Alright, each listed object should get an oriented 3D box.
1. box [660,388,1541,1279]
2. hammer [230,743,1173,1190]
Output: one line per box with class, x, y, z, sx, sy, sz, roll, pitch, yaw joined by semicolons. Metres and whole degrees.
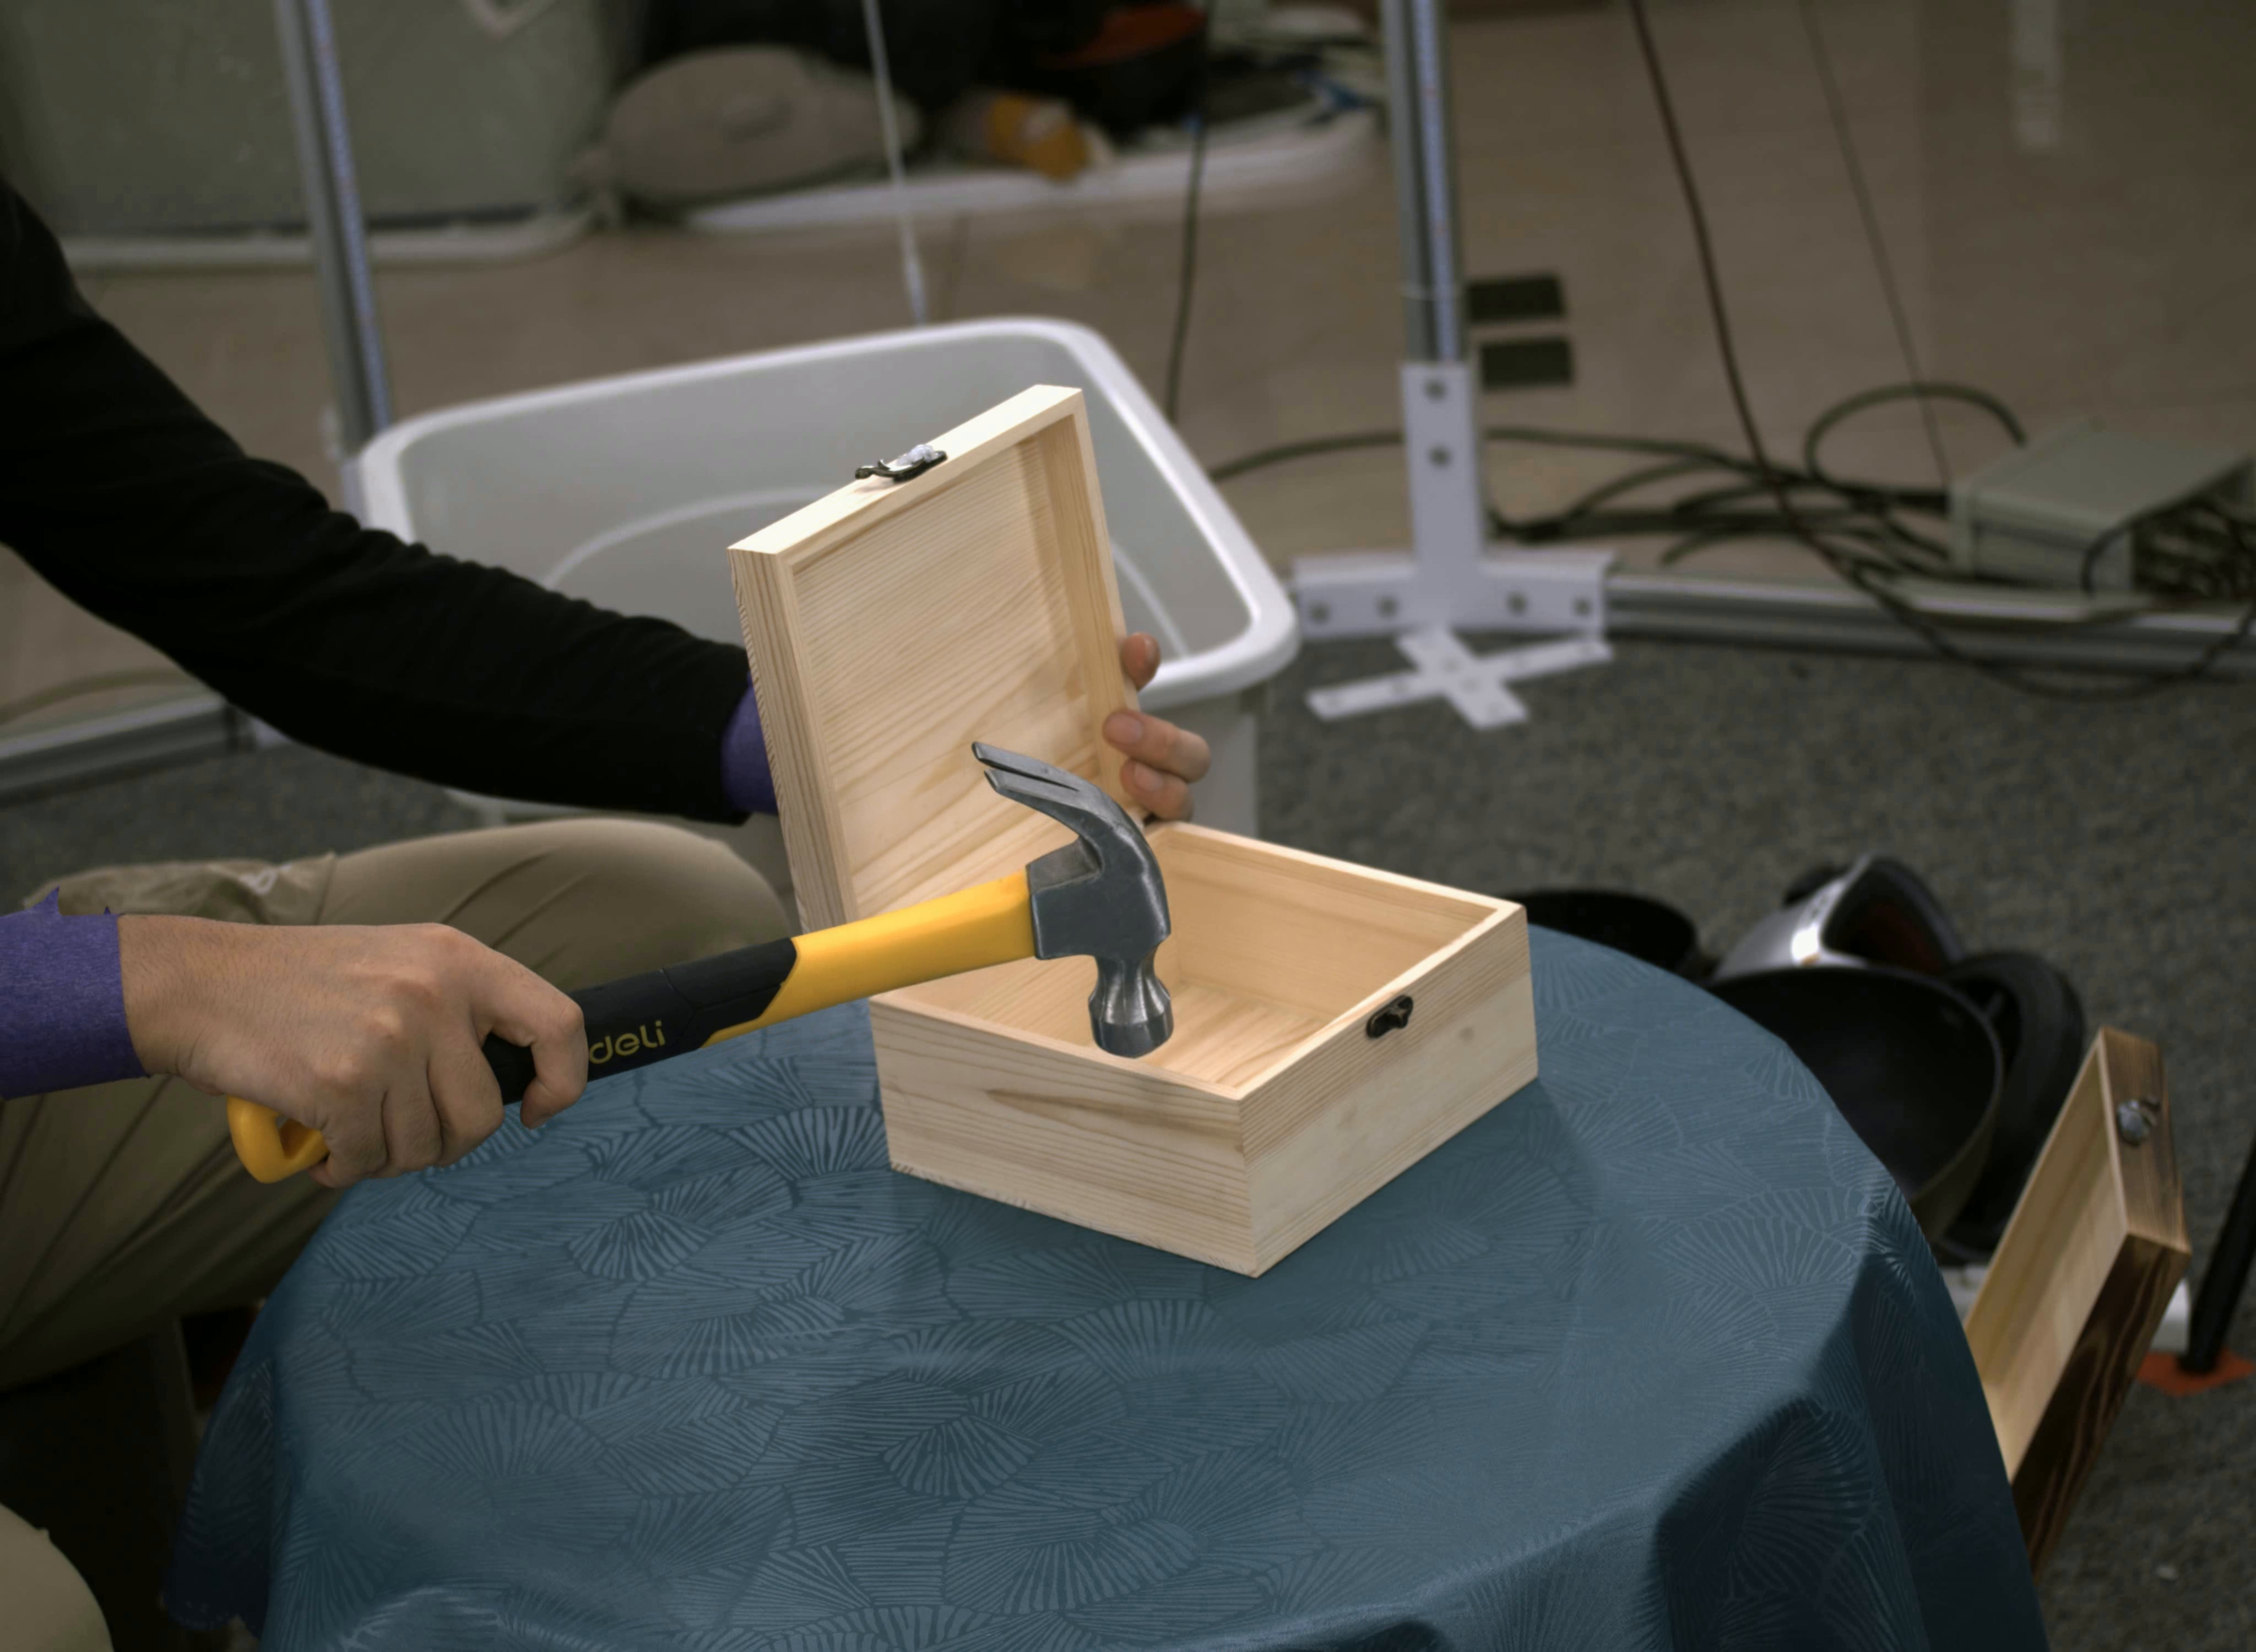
box;-0.005;-0.004;2.157;0.263;0.257;0.180;14;34;36
hammer;-0.149;0.063;1.987;0.337;0.134;0.032;-16;35;-12
